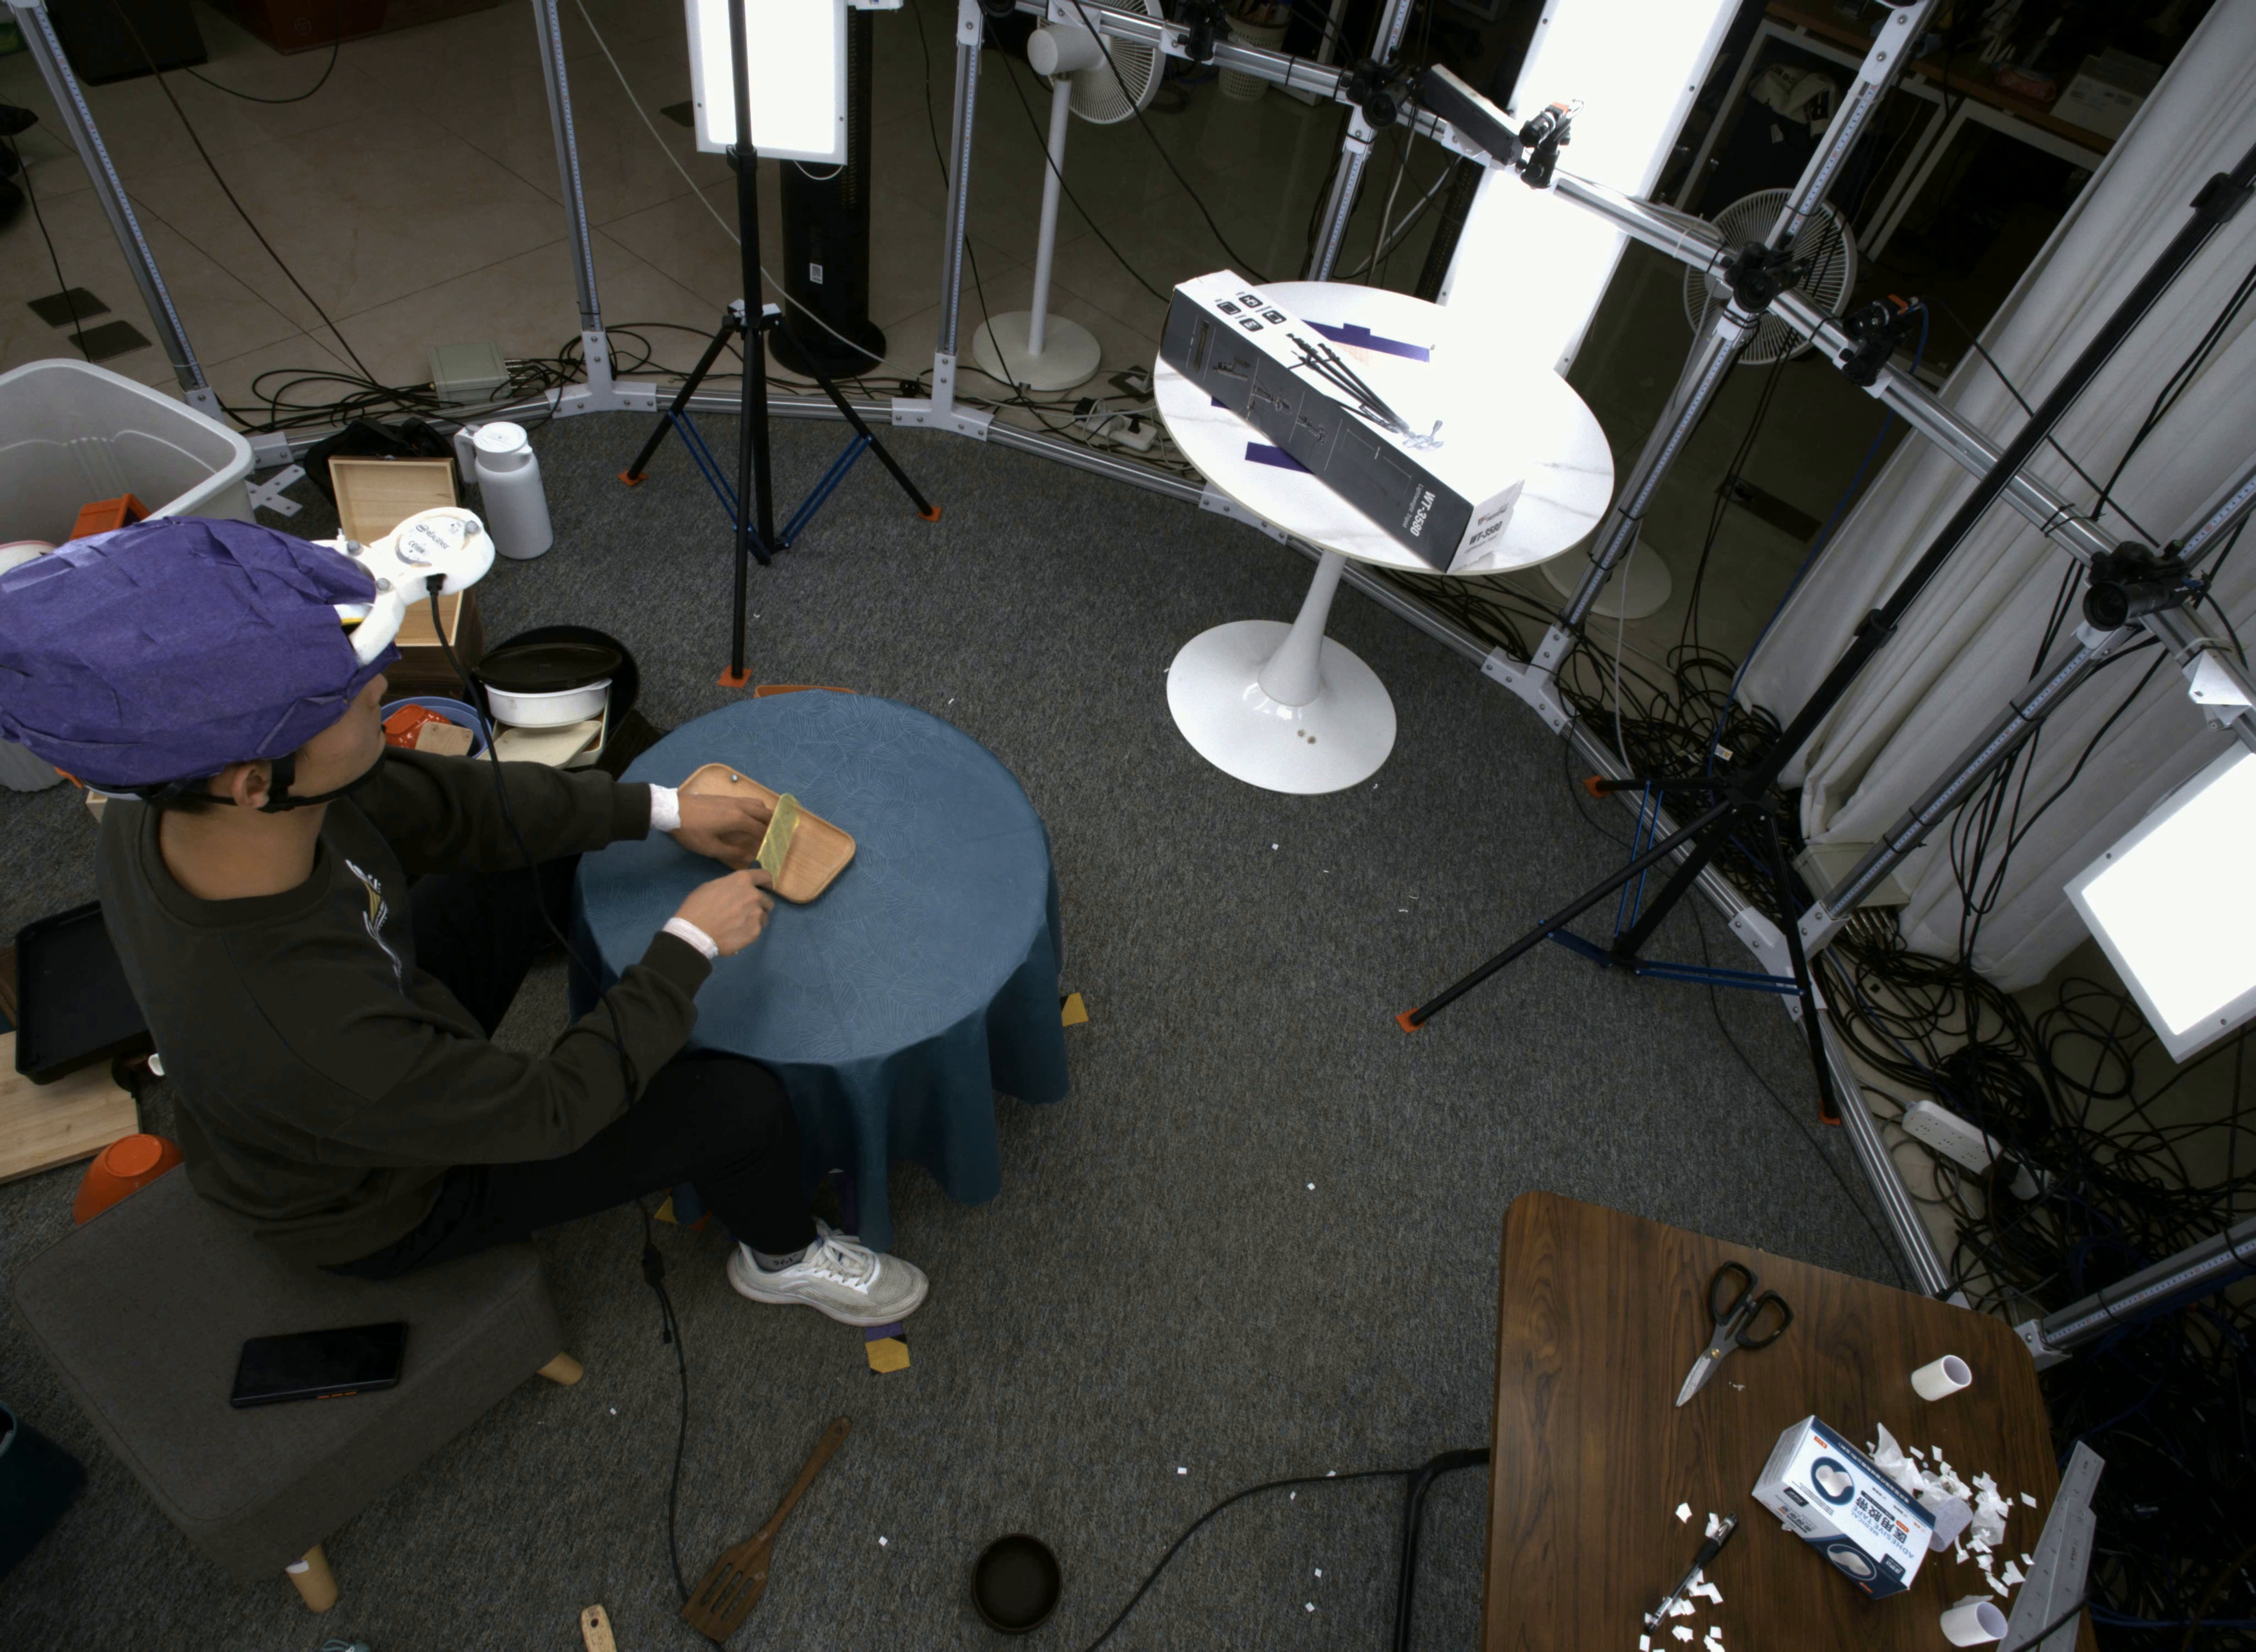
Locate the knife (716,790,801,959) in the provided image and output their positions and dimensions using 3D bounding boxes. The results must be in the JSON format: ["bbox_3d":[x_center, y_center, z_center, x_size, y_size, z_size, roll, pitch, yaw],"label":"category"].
[{"bbox_3d":[-0.442,0.057,1.578,0.027,0.084,0.284,2,43,8],"label":"knife"}]

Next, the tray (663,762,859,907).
[{"bbox_3d":[-0.484,0.009,1.708,0.248,0.023,0.130,31,56,4],"label":"tray"}]
